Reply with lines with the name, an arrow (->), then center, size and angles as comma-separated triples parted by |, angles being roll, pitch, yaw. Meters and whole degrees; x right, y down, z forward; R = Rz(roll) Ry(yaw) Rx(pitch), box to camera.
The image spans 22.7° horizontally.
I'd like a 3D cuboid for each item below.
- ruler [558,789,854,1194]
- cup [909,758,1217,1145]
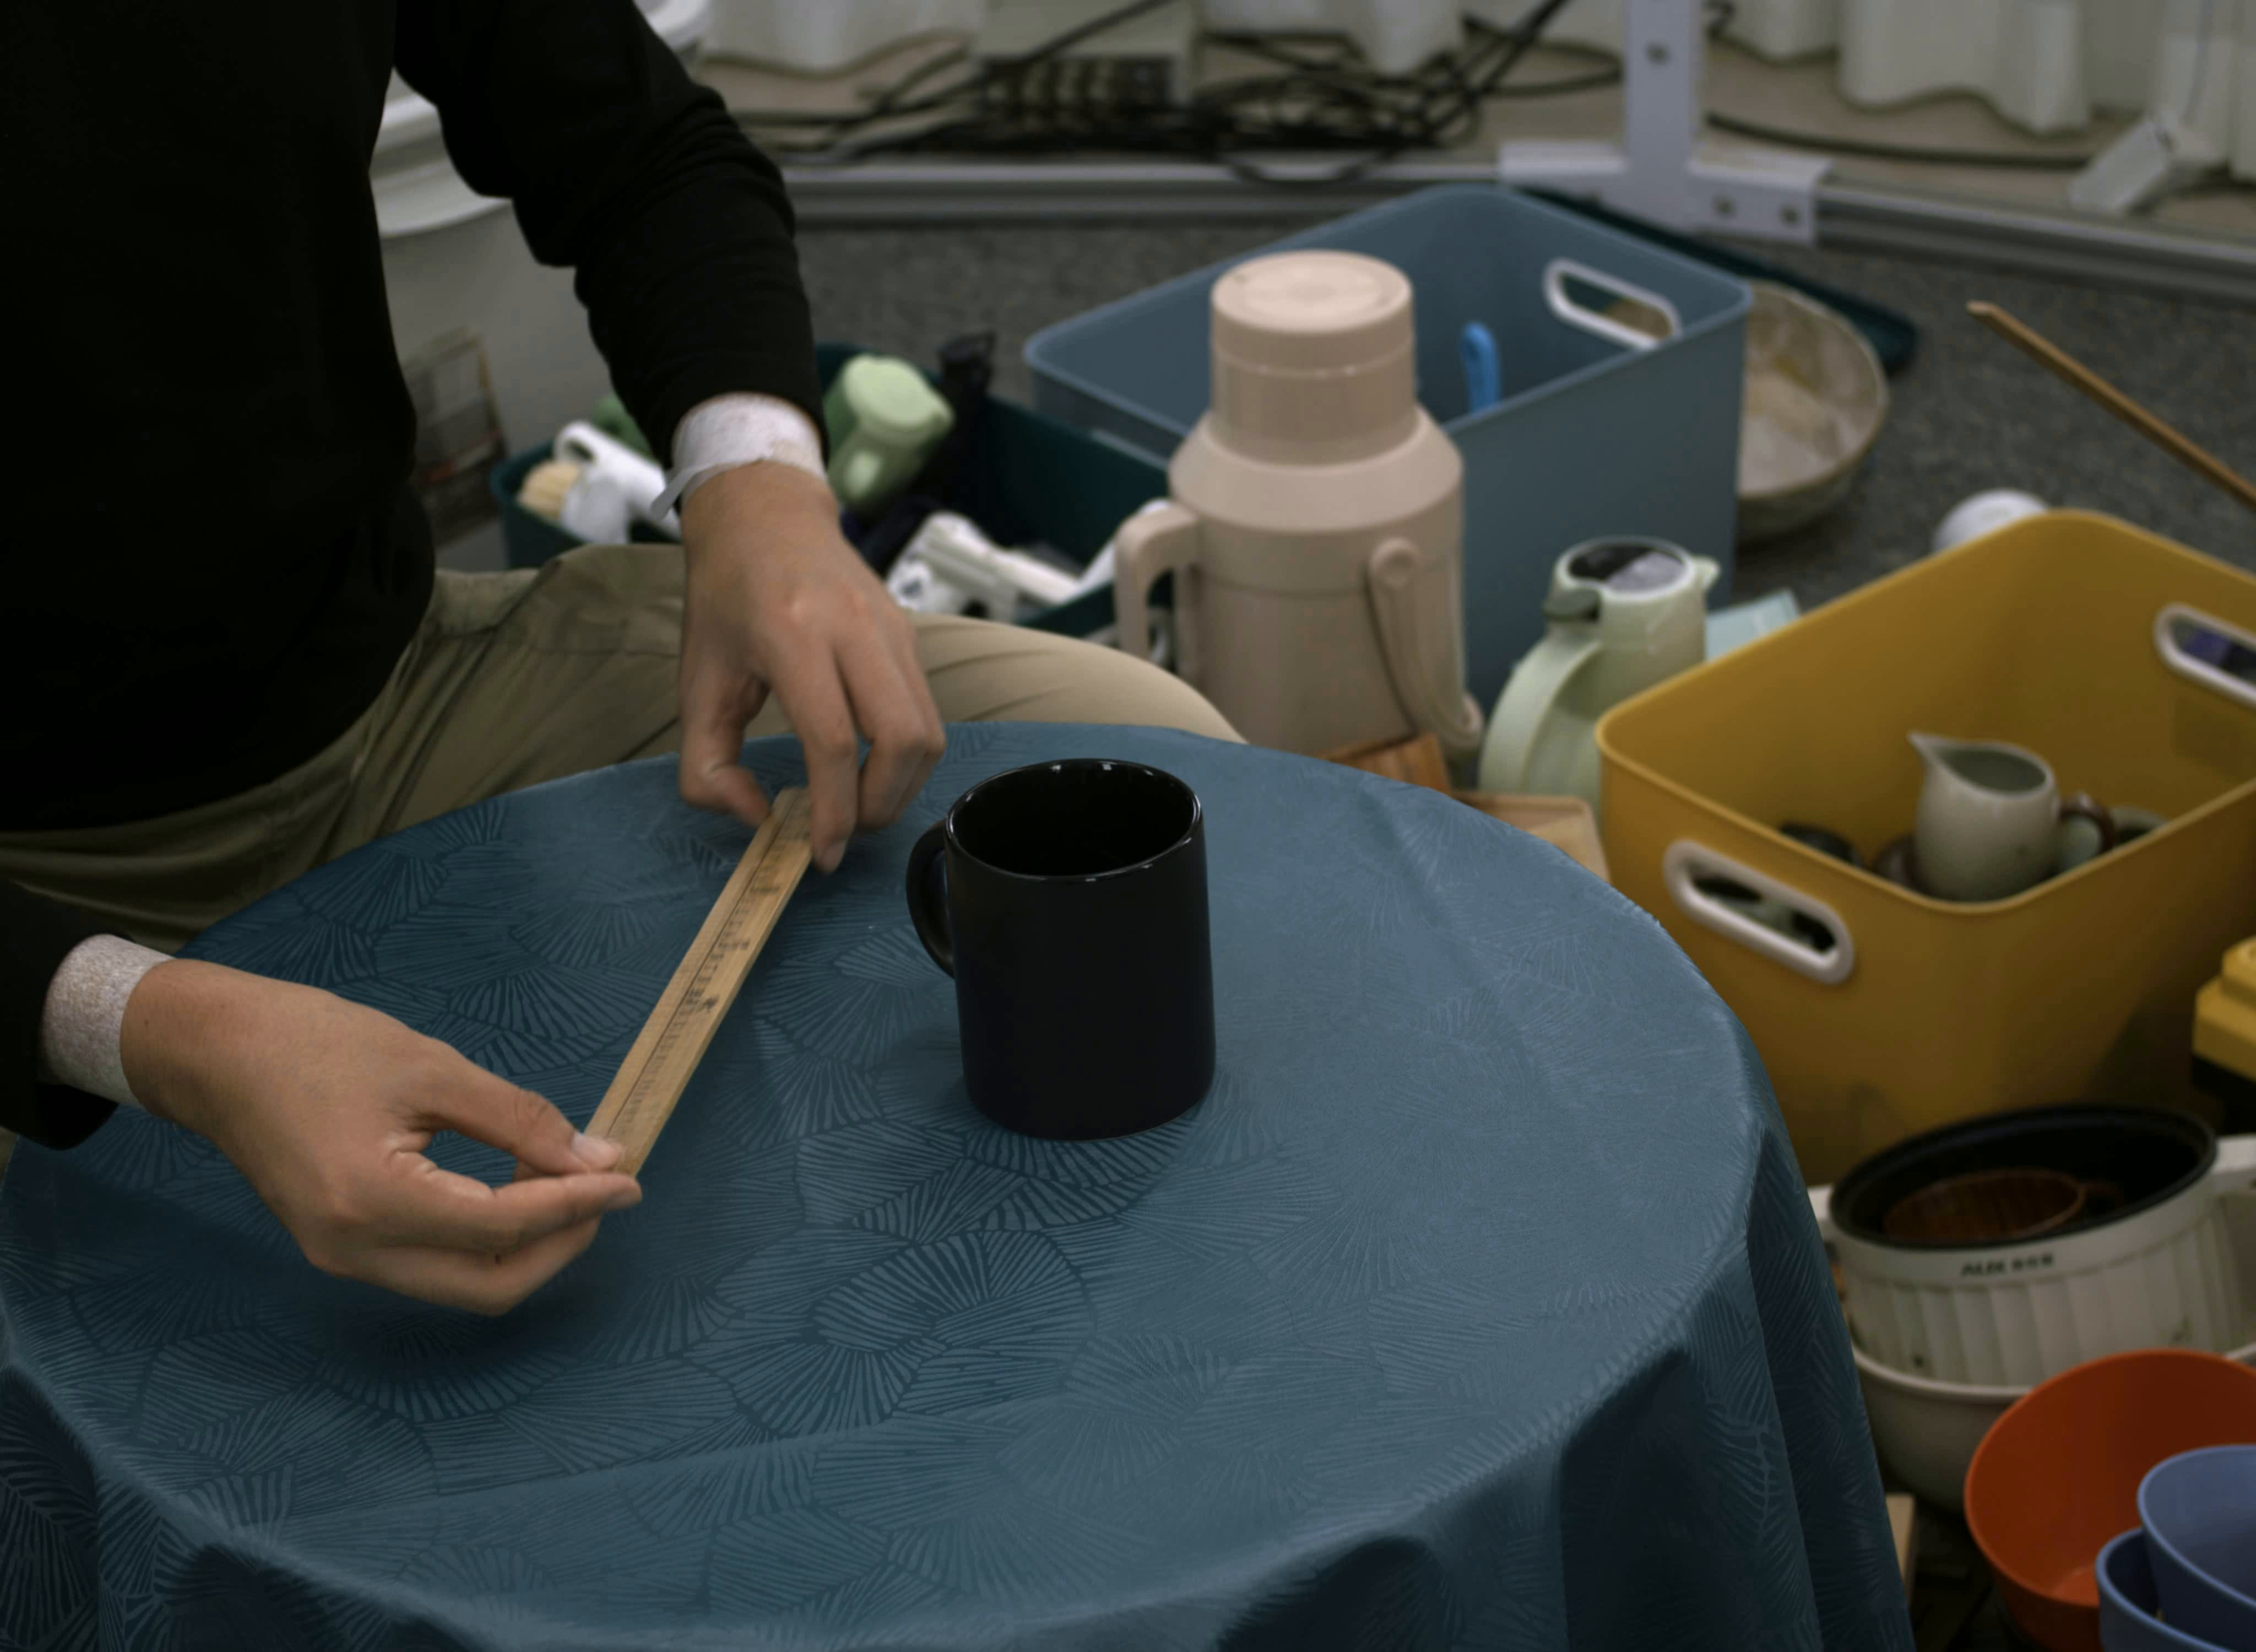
ruler -> -0.143, 0.050, 1.939 | 0.027, 0.022, 0.336 | 3, 22, 10
cup -> -0.029, 0.037, 1.918 | 0.123, 0.104, 0.090 | 21, 37, 40
